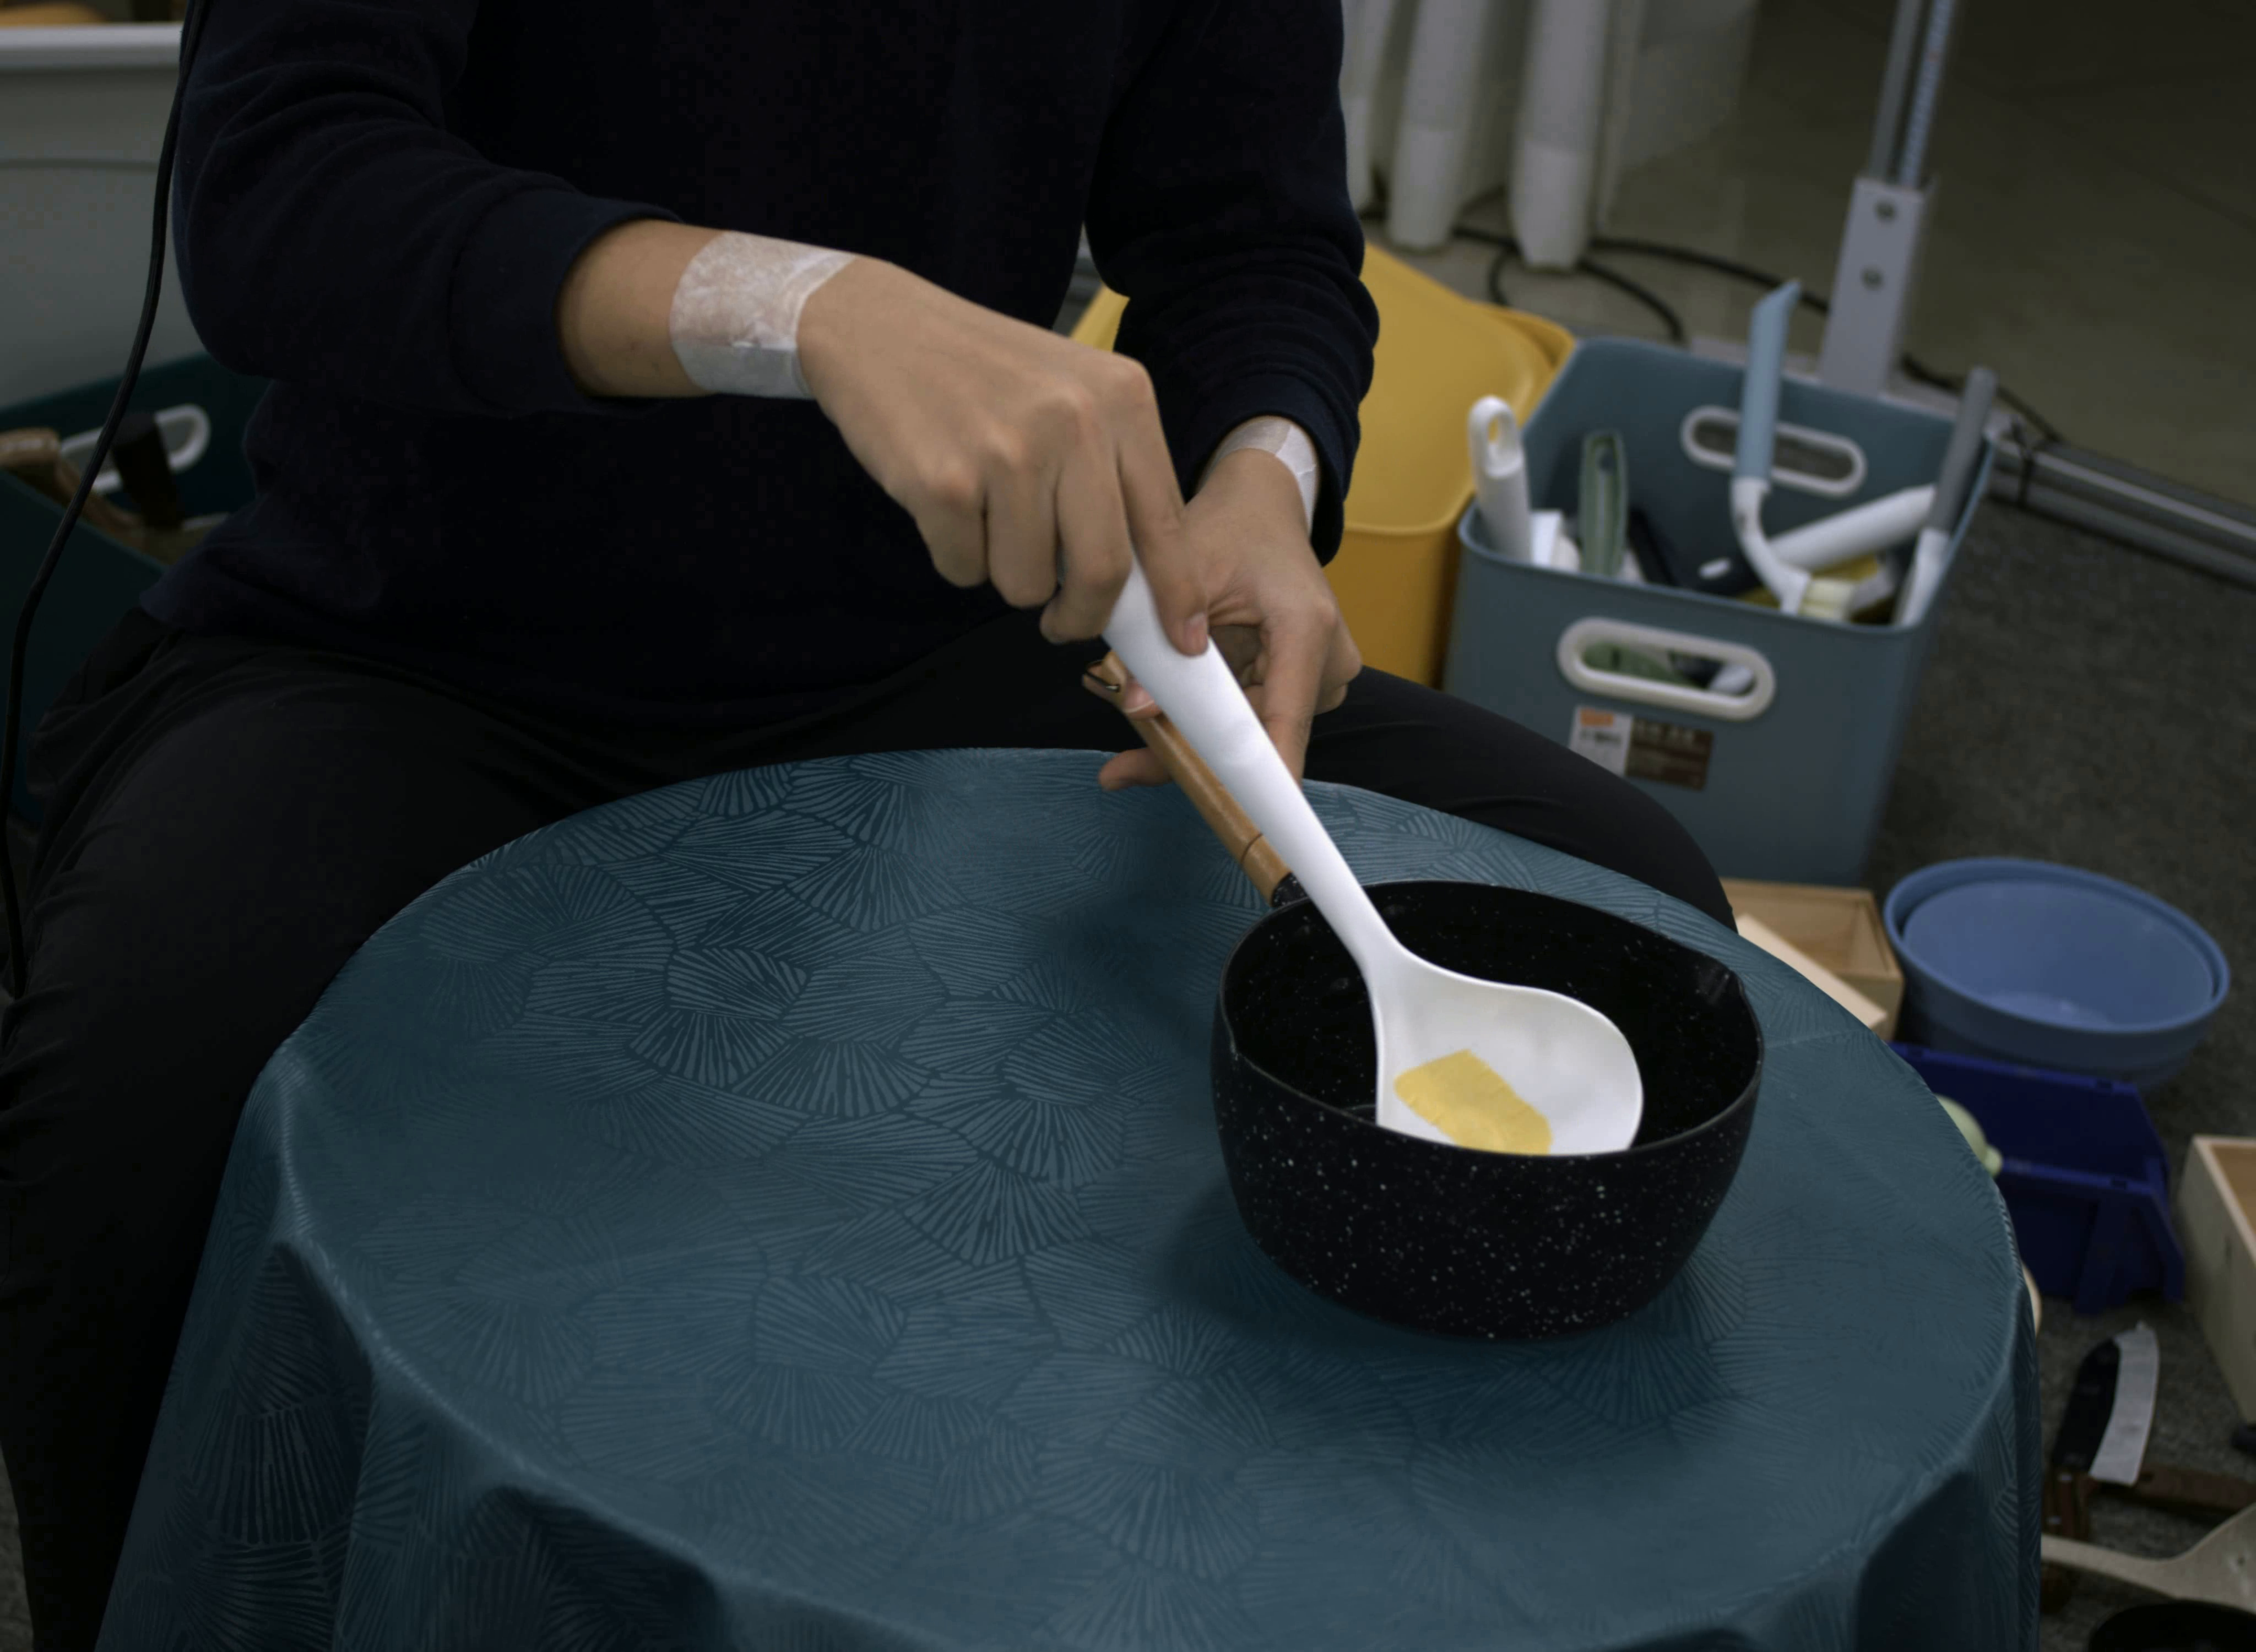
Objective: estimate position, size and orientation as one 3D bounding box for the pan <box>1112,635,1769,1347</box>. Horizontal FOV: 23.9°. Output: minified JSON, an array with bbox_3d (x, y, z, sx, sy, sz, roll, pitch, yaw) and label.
[{"bbox_3d":[0.078,0.052,1.840,0.206,0.108,0.346,-11,33,-28],"label":"pan"}]

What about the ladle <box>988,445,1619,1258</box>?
[{"bbox_3d":[0.051,0.007,1.688,0.090,0.291,0.070,-35,18,0],"label":"ladle"}]
